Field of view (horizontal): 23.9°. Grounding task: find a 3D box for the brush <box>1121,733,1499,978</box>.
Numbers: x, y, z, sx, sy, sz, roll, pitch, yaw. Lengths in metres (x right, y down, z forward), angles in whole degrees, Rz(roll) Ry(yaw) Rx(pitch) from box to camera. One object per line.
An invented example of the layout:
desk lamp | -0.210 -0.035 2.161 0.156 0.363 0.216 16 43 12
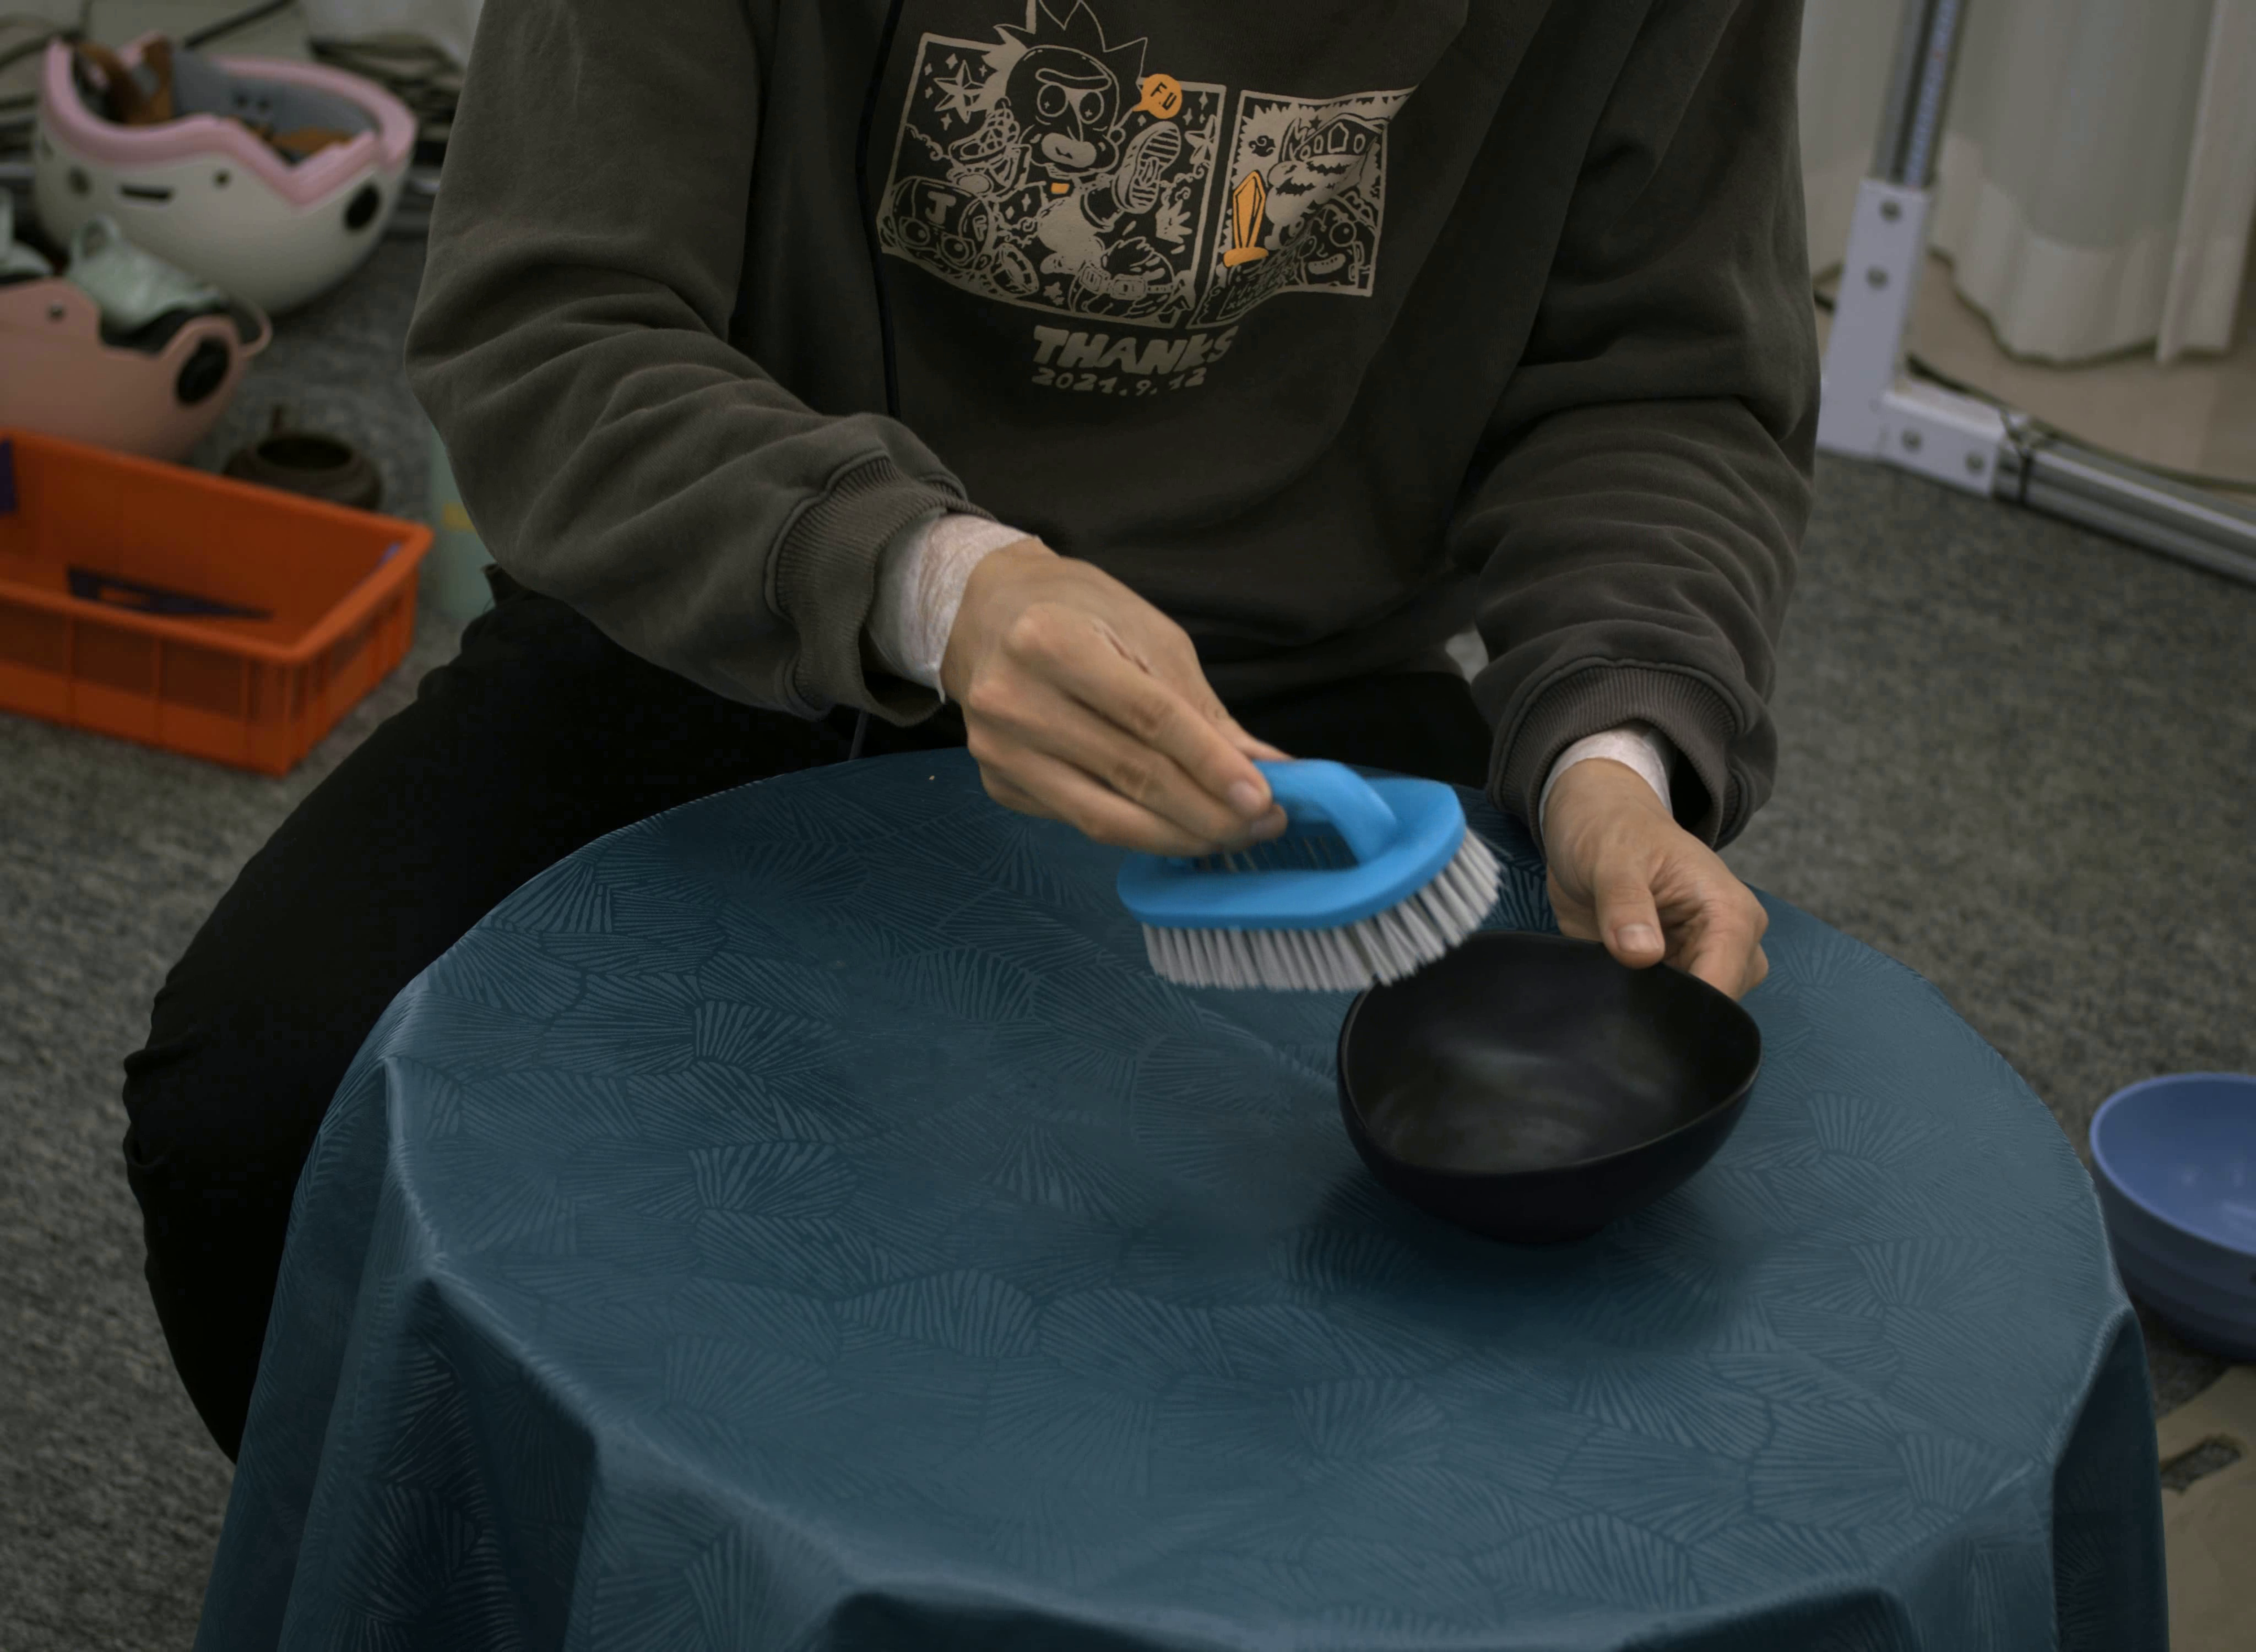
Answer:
brush | 0.051 -0.001 1.759 0.142 0.063 0.084 1 41 48

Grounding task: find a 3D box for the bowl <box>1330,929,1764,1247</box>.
bowl | 0.140 0.099 1.814 0.138 0.066 0.170 21 32 29
